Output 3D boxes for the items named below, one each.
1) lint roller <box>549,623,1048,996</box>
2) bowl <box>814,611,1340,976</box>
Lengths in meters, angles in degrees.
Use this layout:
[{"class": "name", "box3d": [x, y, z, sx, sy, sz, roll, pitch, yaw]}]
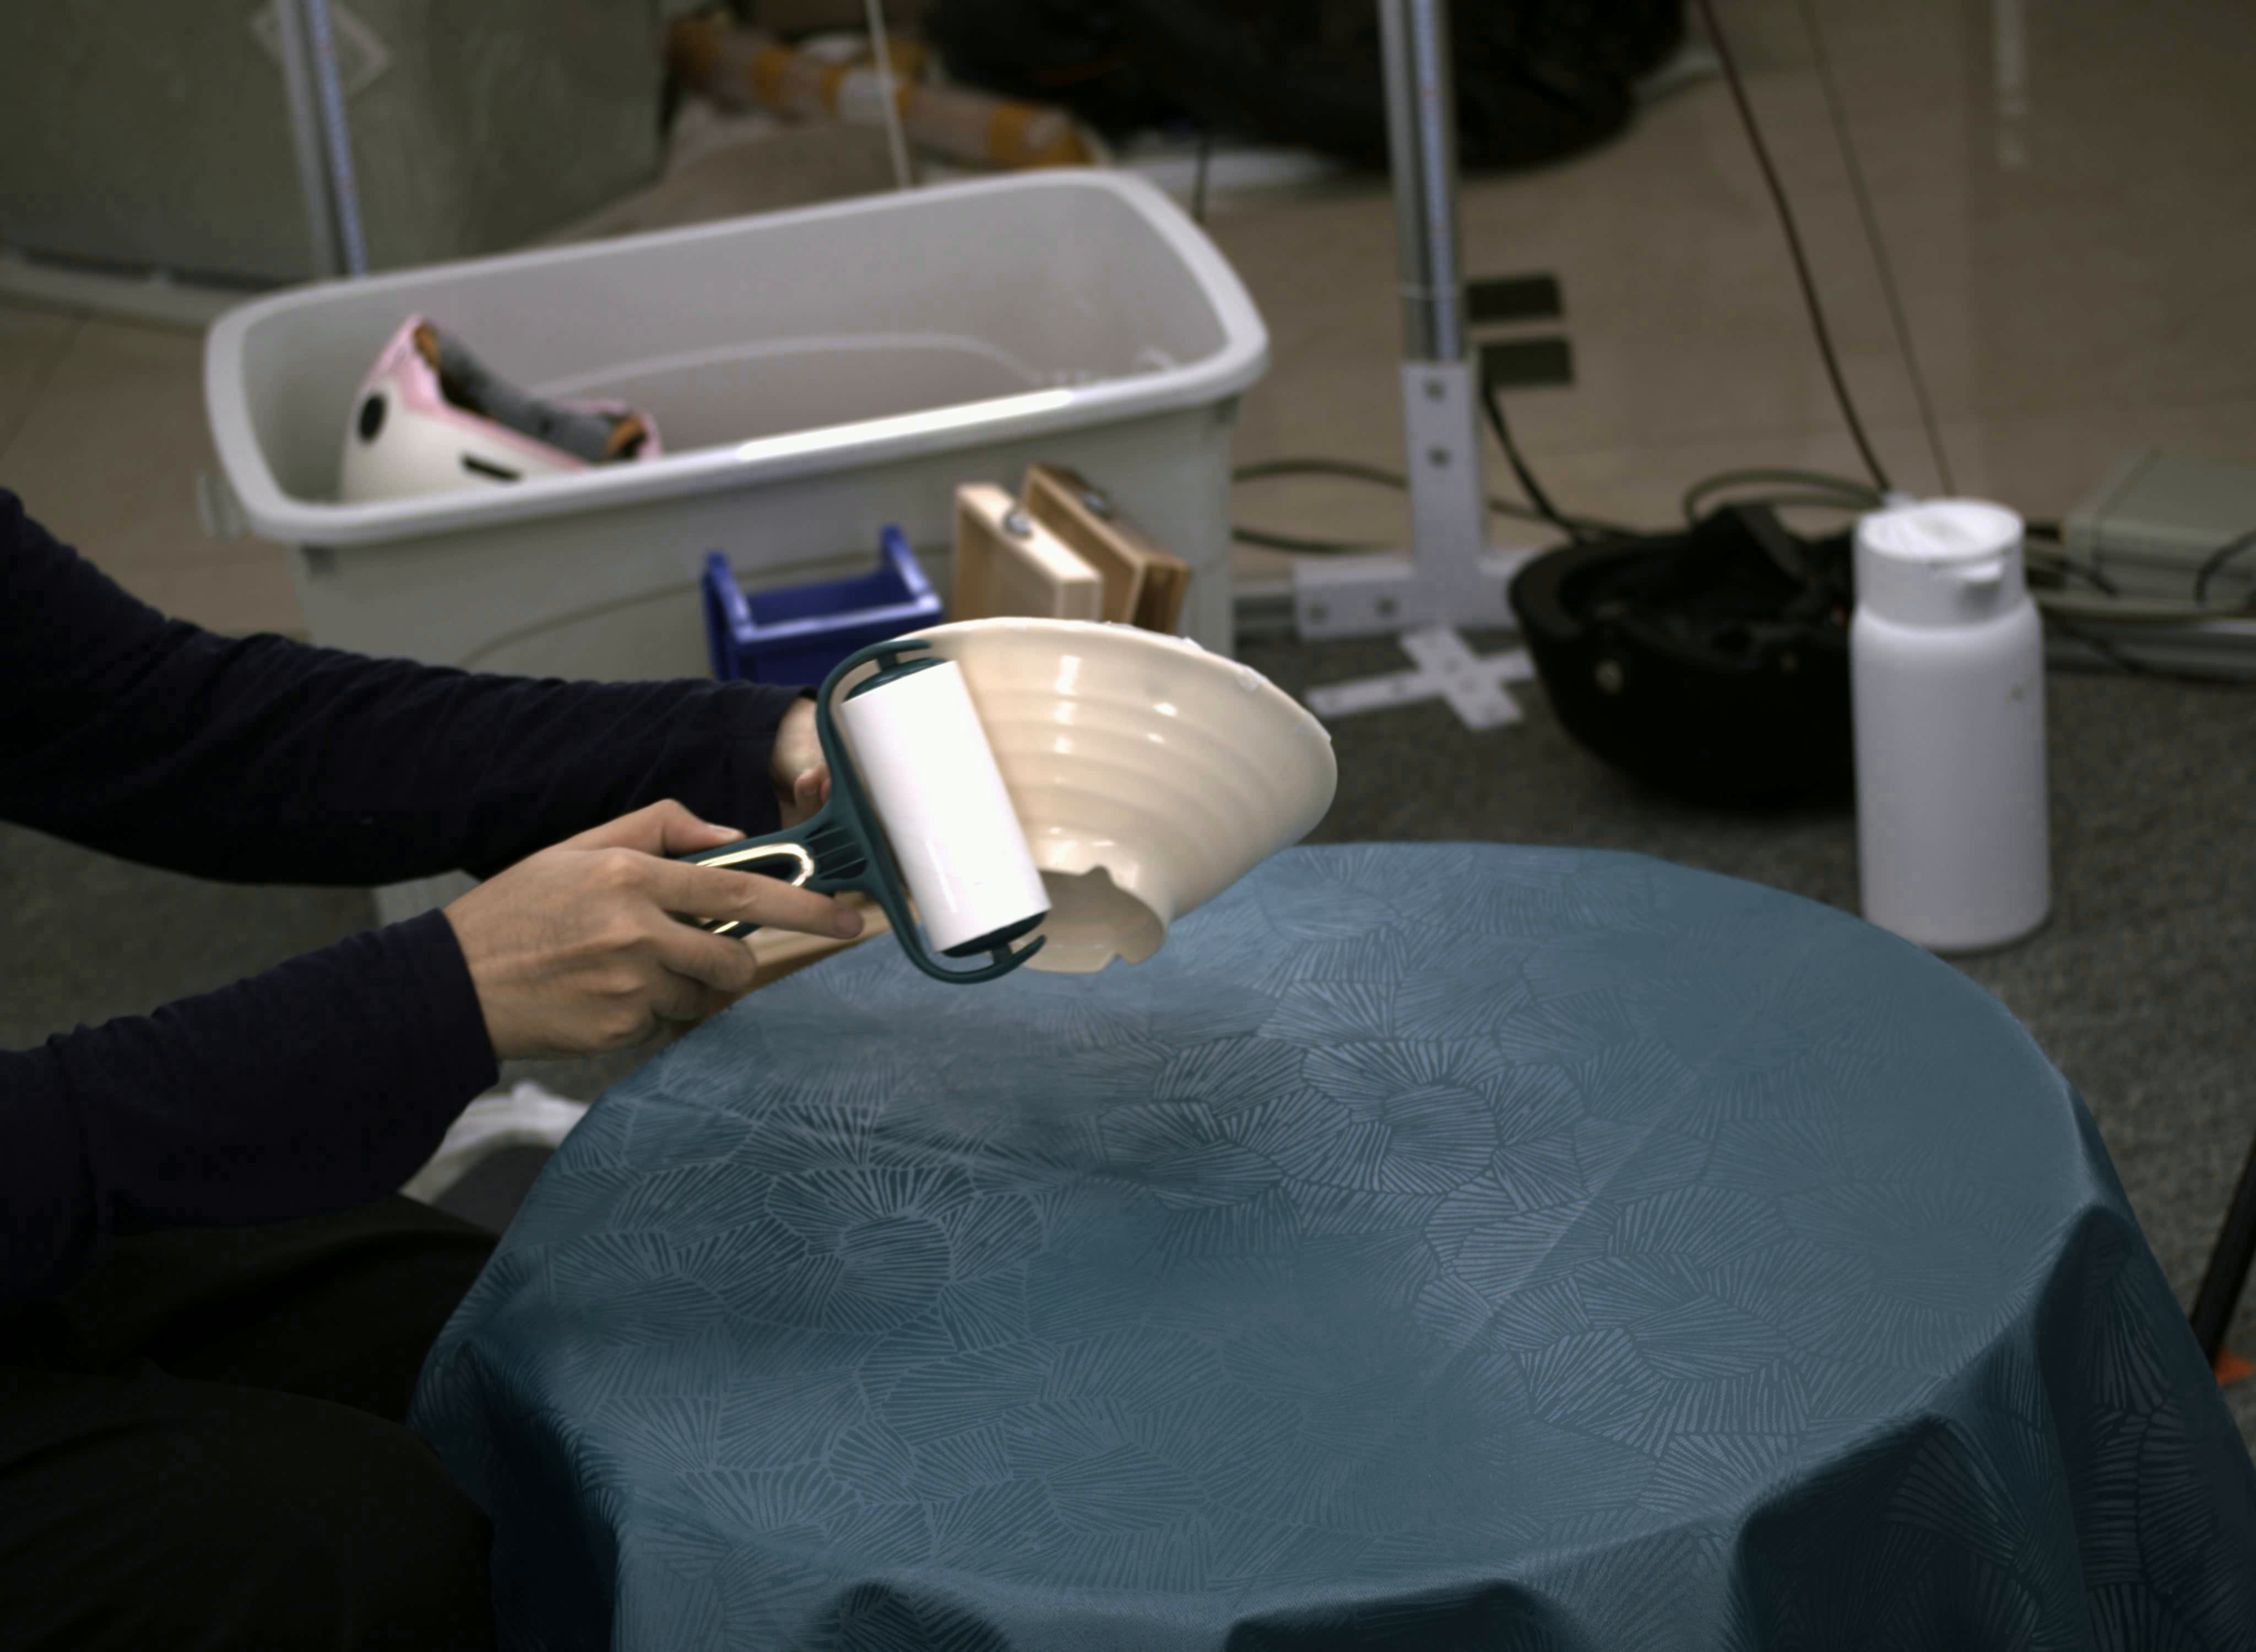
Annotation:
[{"class": "lint roller", "box3d": [-0.131, 0.019, 2.095, 0.180, 0.134, 0.048, -22, 1, -2]}, {"class": "bowl", "box3d": [-0.022, 0.003, 2.165, 0.203, 0.207, 0.077, -2, 61, 9]}]
